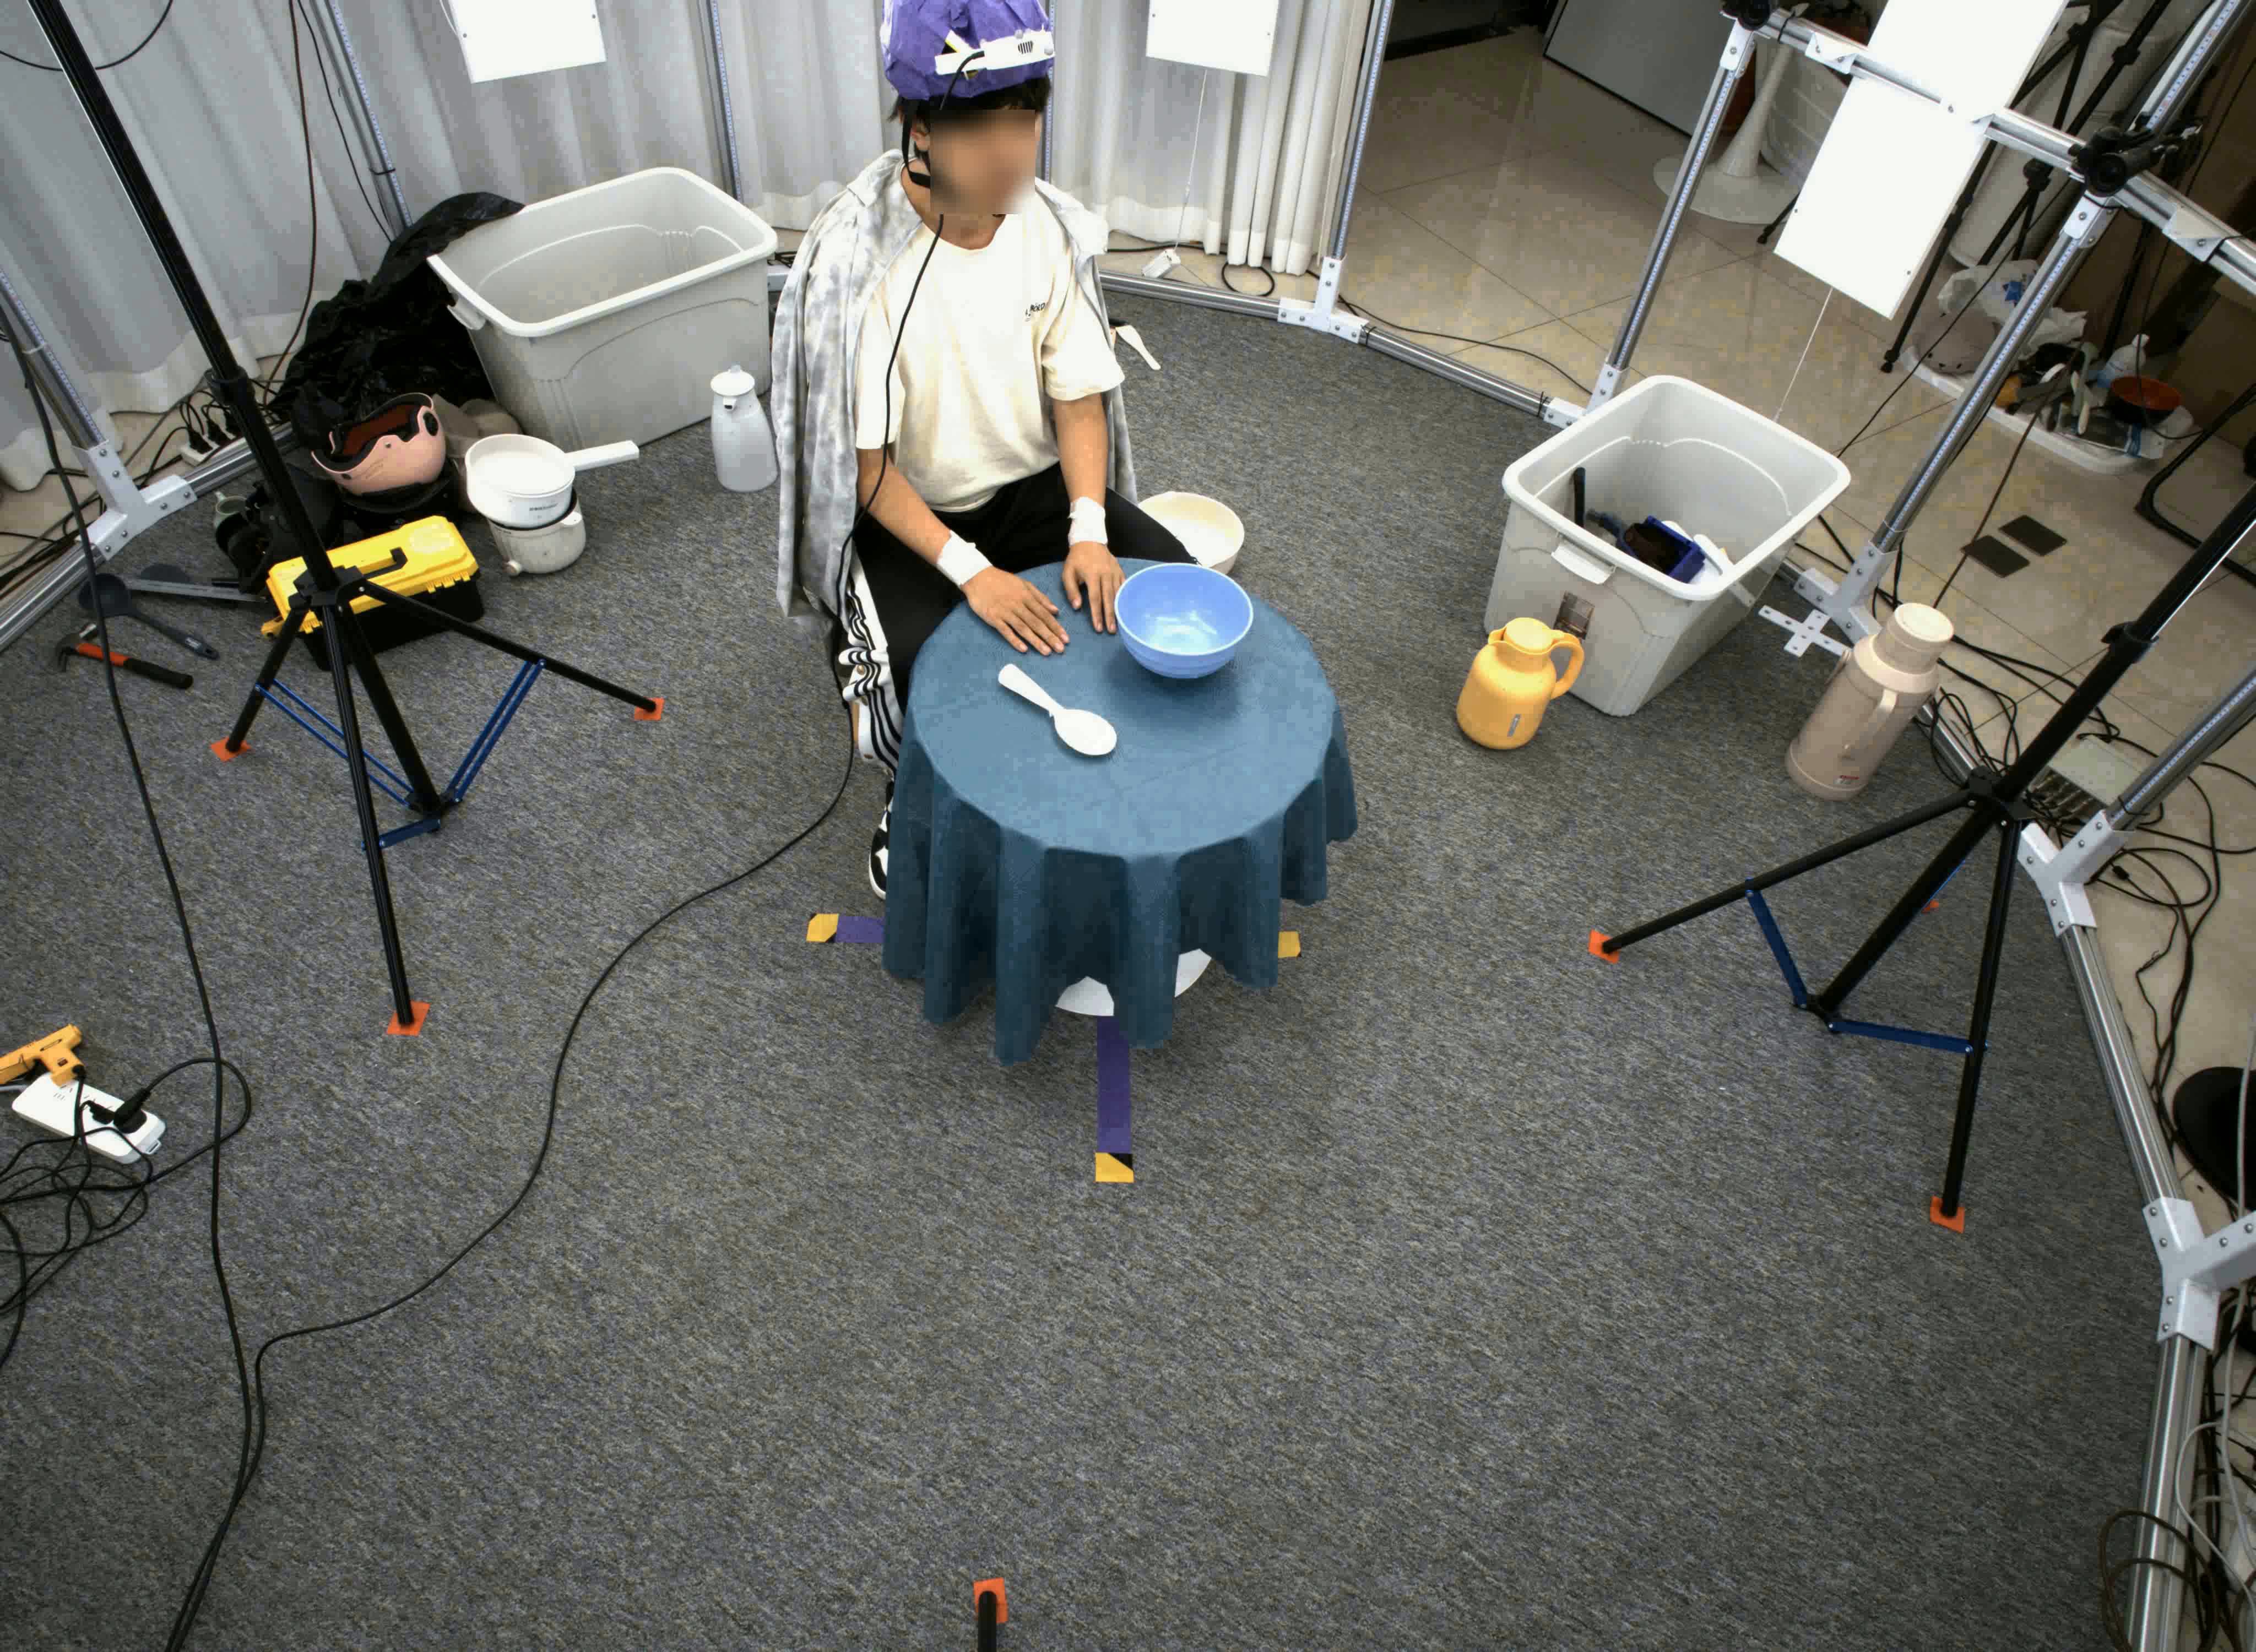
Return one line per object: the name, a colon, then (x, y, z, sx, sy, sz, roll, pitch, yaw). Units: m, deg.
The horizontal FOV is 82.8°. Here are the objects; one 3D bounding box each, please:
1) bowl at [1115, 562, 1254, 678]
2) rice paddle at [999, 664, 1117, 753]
bowl: (0.077, -0.281, 1.848, 0.196, 0.093, 0.201, 2, 50, -3)
rice paddle: (-0.097, -0.163, 1.775, 0.208, 0.029, 0.069, 37, 57, 25)
